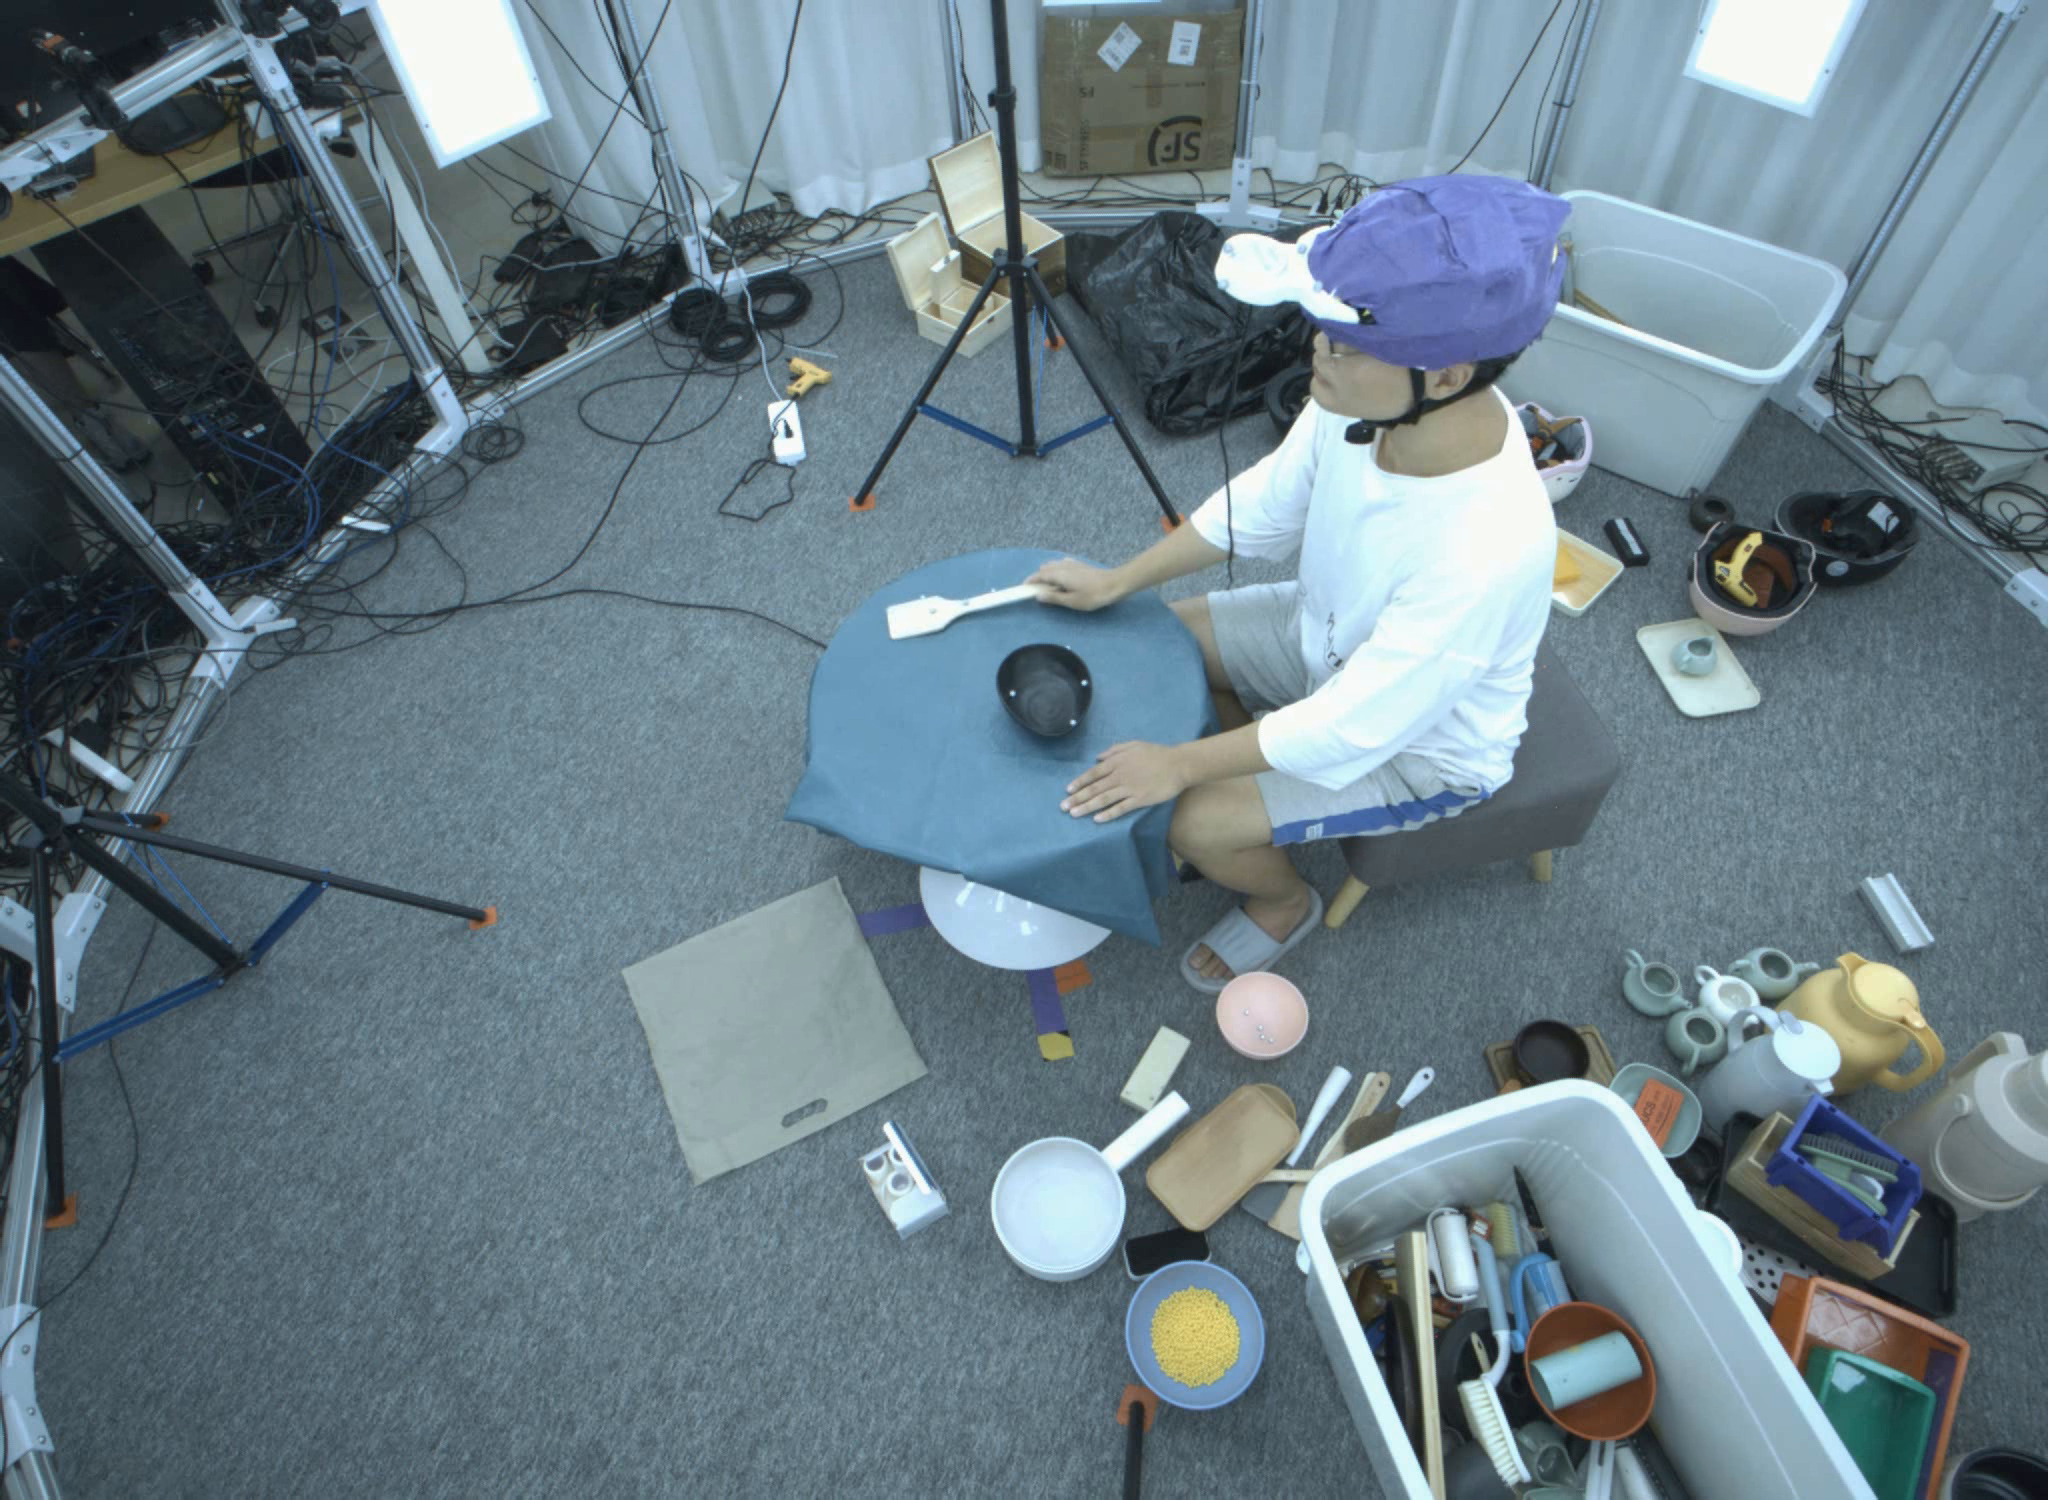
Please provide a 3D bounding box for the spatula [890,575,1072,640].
[{"bbox_3d":[-0.068,-0.233,1.934,0.293,0.011,0.071,-14,55,-1],"label":"spatula"}]

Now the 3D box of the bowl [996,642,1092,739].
[{"bbox_3d":[0.031,-0.079,1.801,0.138,0.067,0.167,-16,58,-10],"label":"bowl"}]
